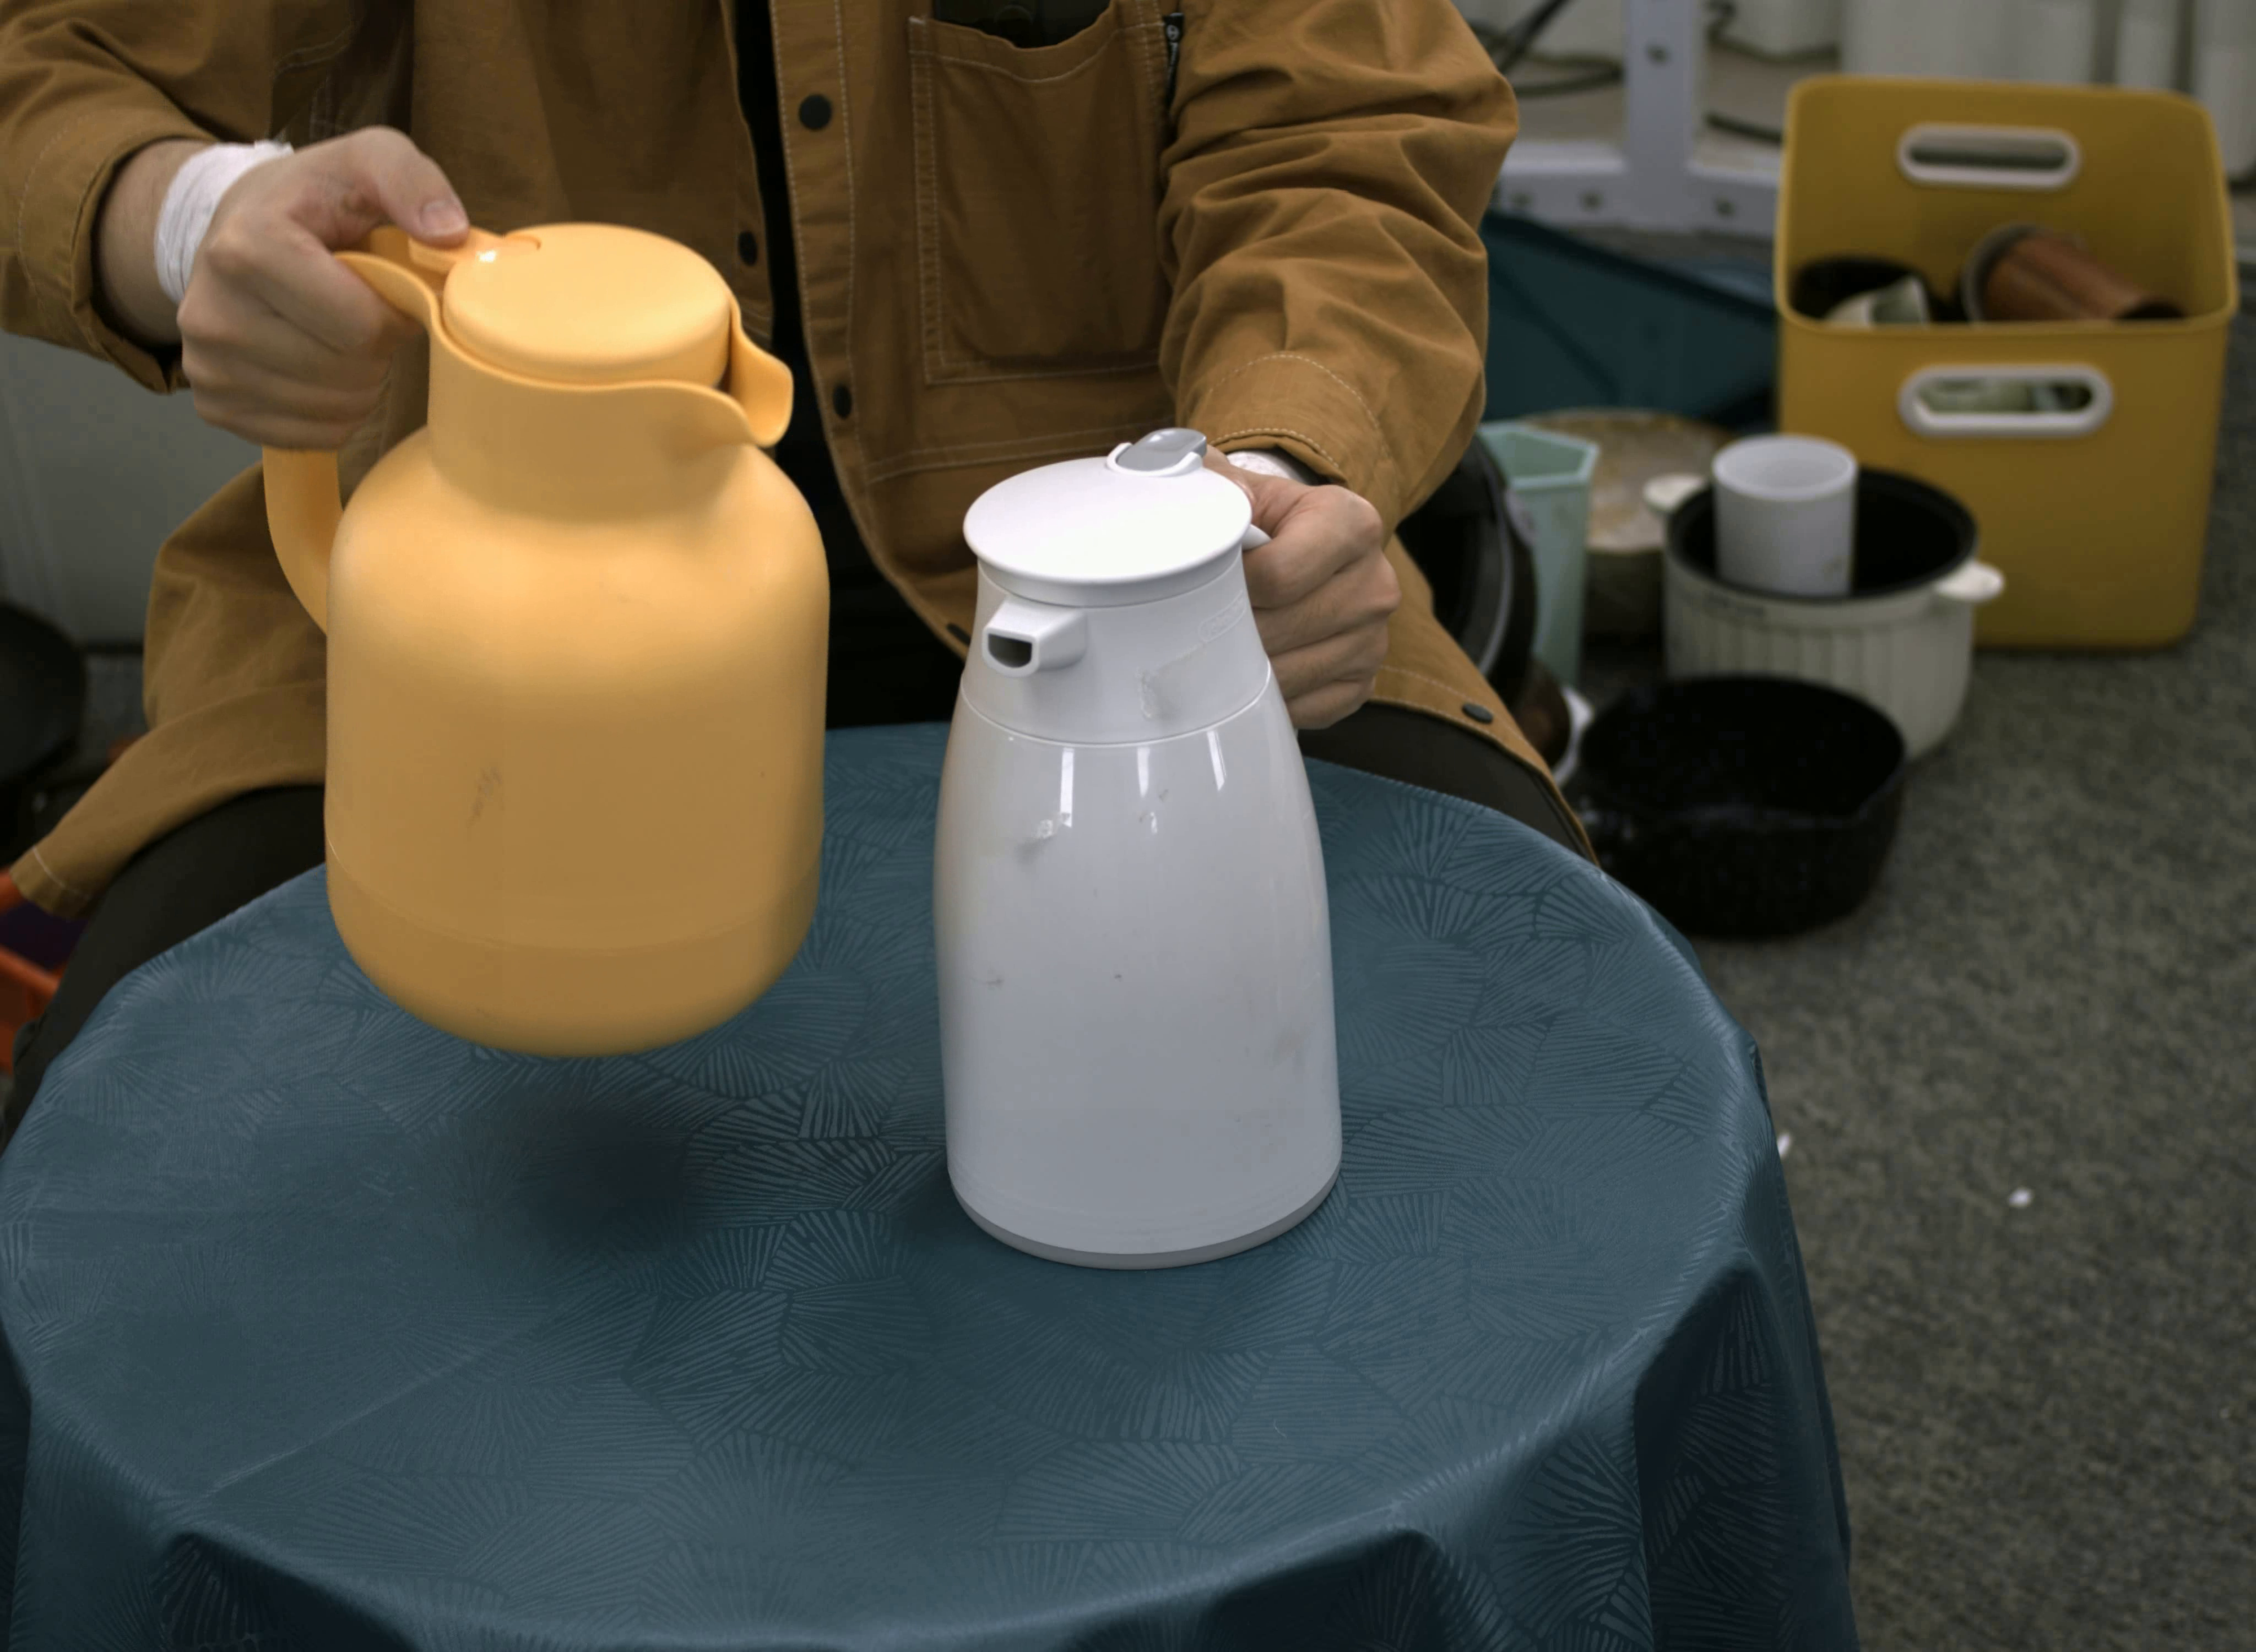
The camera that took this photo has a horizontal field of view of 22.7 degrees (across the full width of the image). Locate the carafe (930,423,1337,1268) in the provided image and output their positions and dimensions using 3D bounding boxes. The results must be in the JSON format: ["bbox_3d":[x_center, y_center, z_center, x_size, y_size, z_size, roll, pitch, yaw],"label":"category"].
[{"bbox_3d":[0.007,-0.005,1.836,0.132,0.246,0.170,11,29,27],"label":"carafe"}]

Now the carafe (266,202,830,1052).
[{"bbox_3d":[-0.191,-0.074,1.813,0.202,0.257,0.166,24,33,25],"label":"carafe"}]
